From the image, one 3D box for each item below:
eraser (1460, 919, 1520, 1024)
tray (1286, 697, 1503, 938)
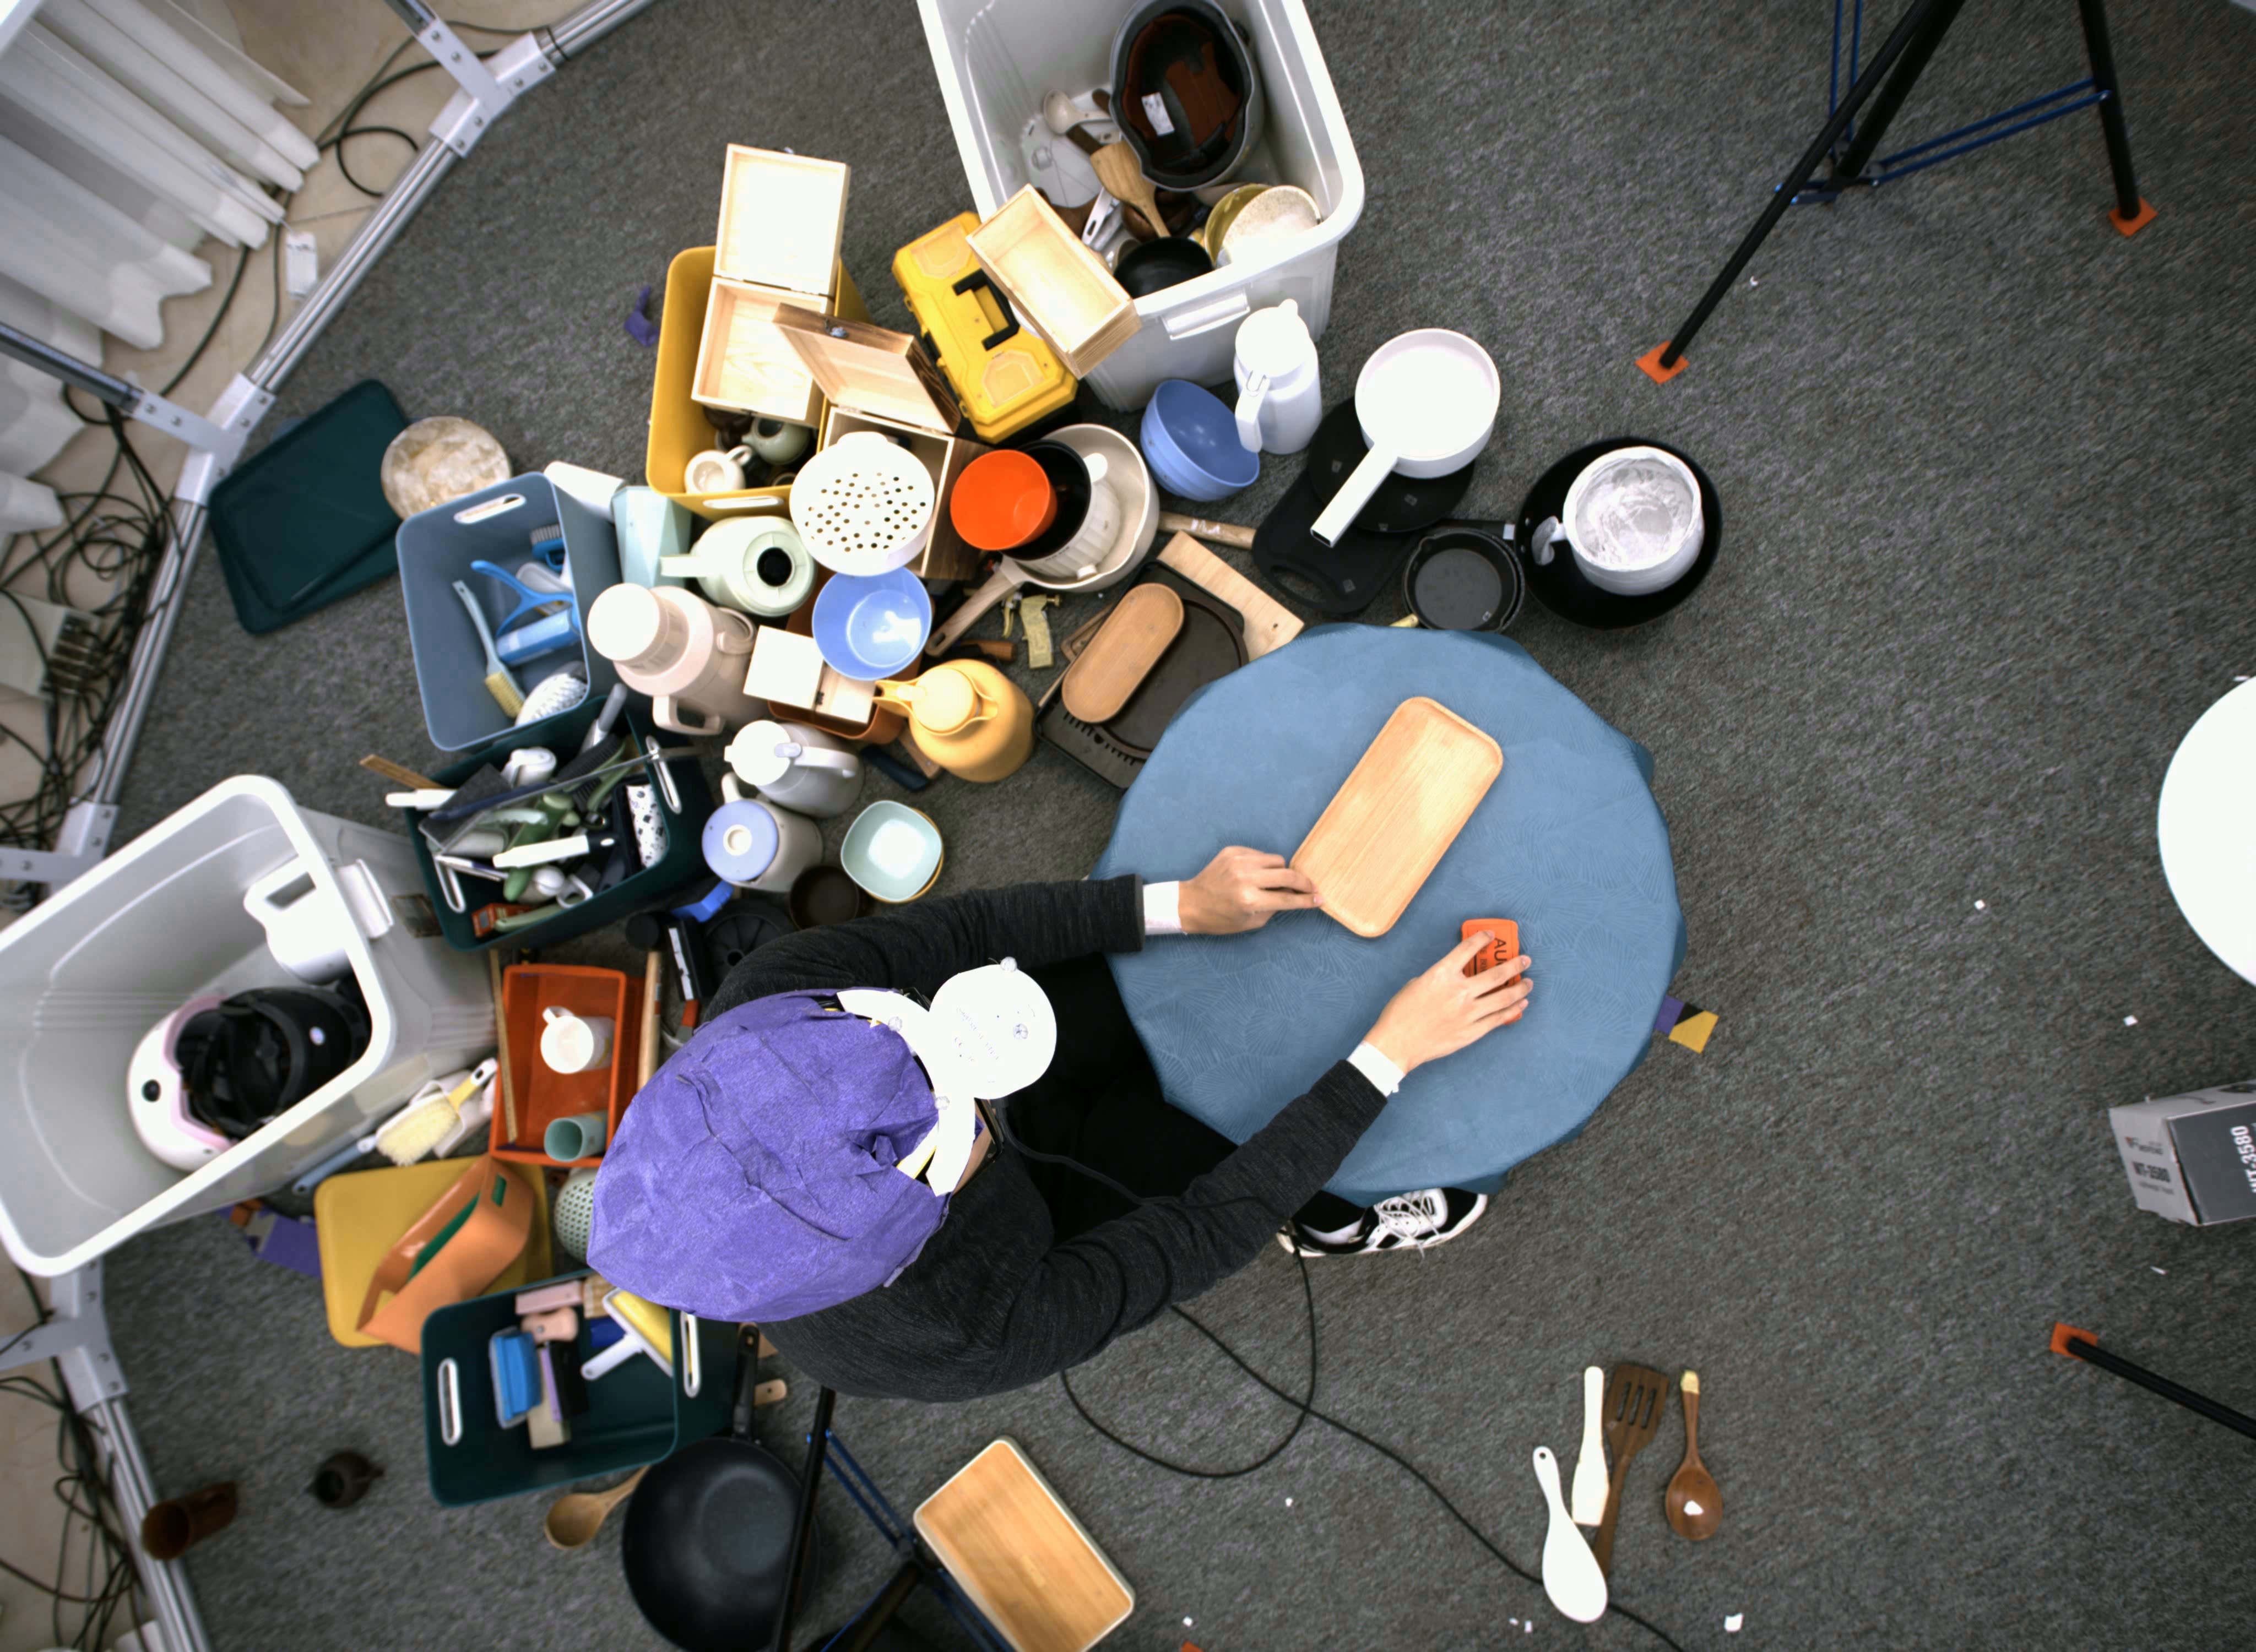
[{"bbox_3d":[0.374,0.148,1.424,0.059,0.023,0.107,-1,87,12],"label":"eraser"},{"bbox_3d":[0.280,-0.011,1.448,0.130,0.023,0.251,36,92,12],"label":"tray"}]
